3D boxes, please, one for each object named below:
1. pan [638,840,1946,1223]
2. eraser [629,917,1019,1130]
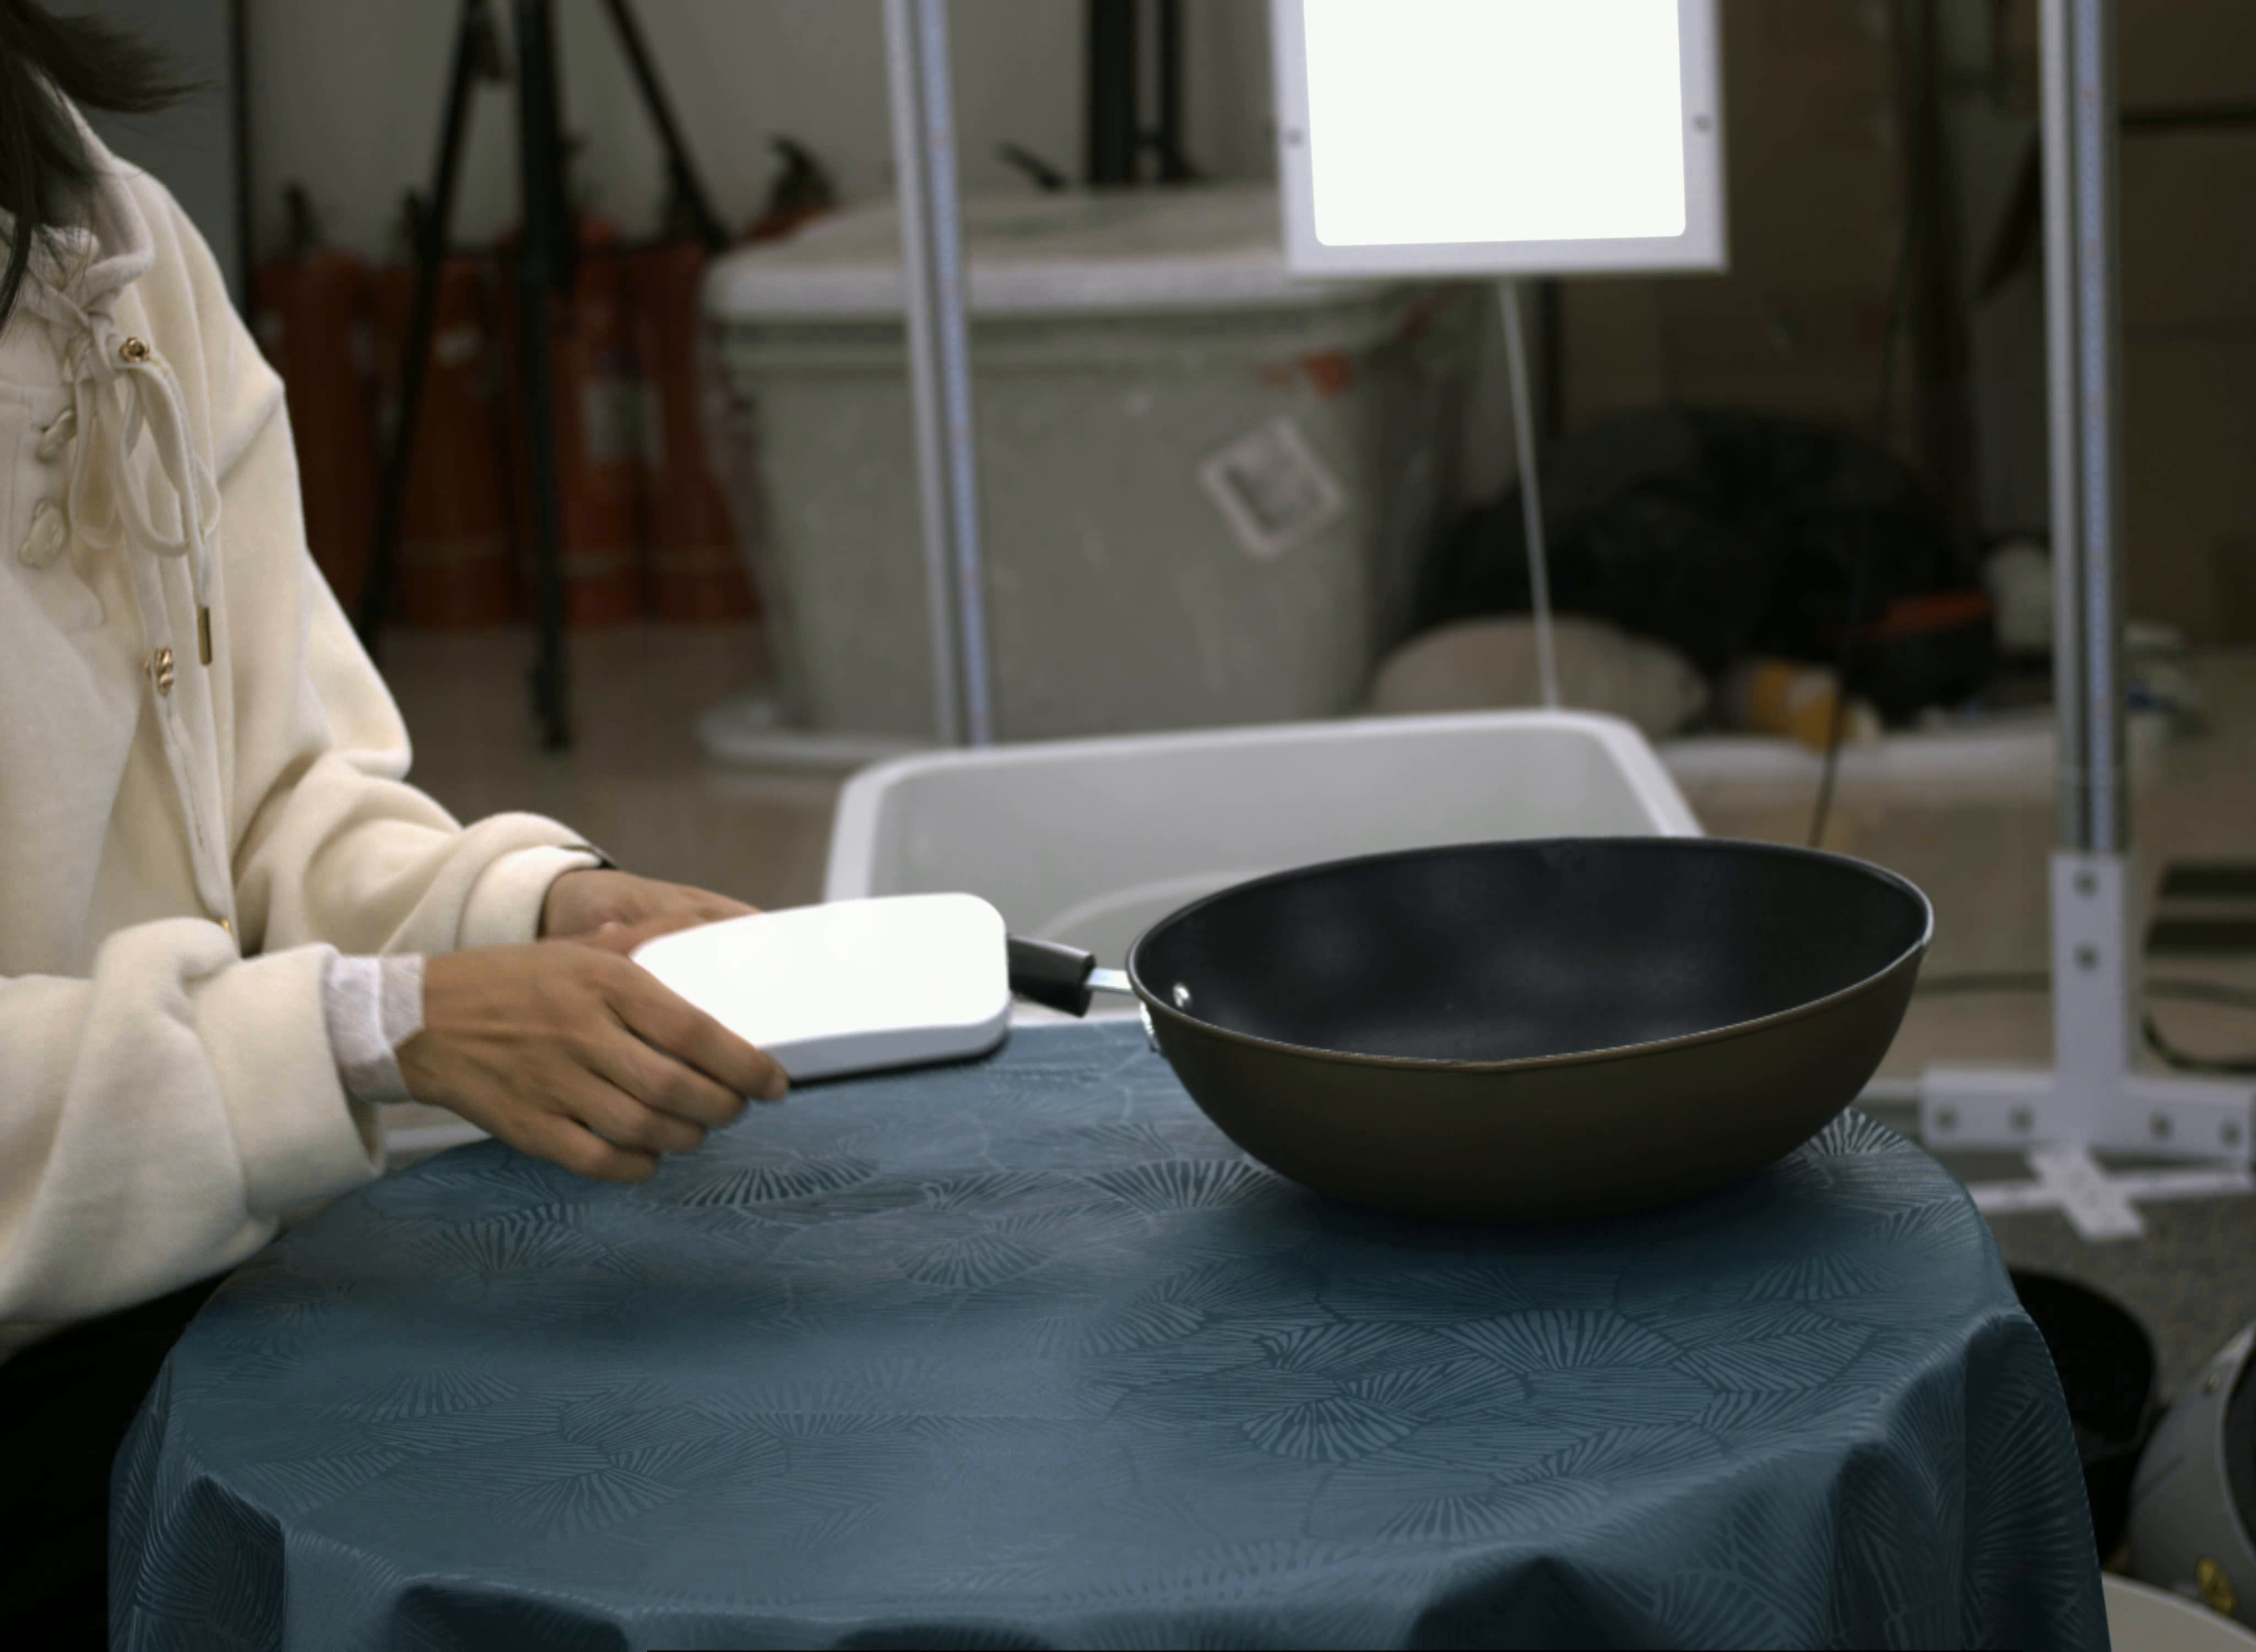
[{"bbox_3d":[0.054,0.078,1.905,0.467,0.087,0.284,-3,13,14],"label":"pan"},{"bbox_3d":[-0.100,0.063,1.831,0.132,0.034,0.063,-8,42,8],"label":"eraser"}]
